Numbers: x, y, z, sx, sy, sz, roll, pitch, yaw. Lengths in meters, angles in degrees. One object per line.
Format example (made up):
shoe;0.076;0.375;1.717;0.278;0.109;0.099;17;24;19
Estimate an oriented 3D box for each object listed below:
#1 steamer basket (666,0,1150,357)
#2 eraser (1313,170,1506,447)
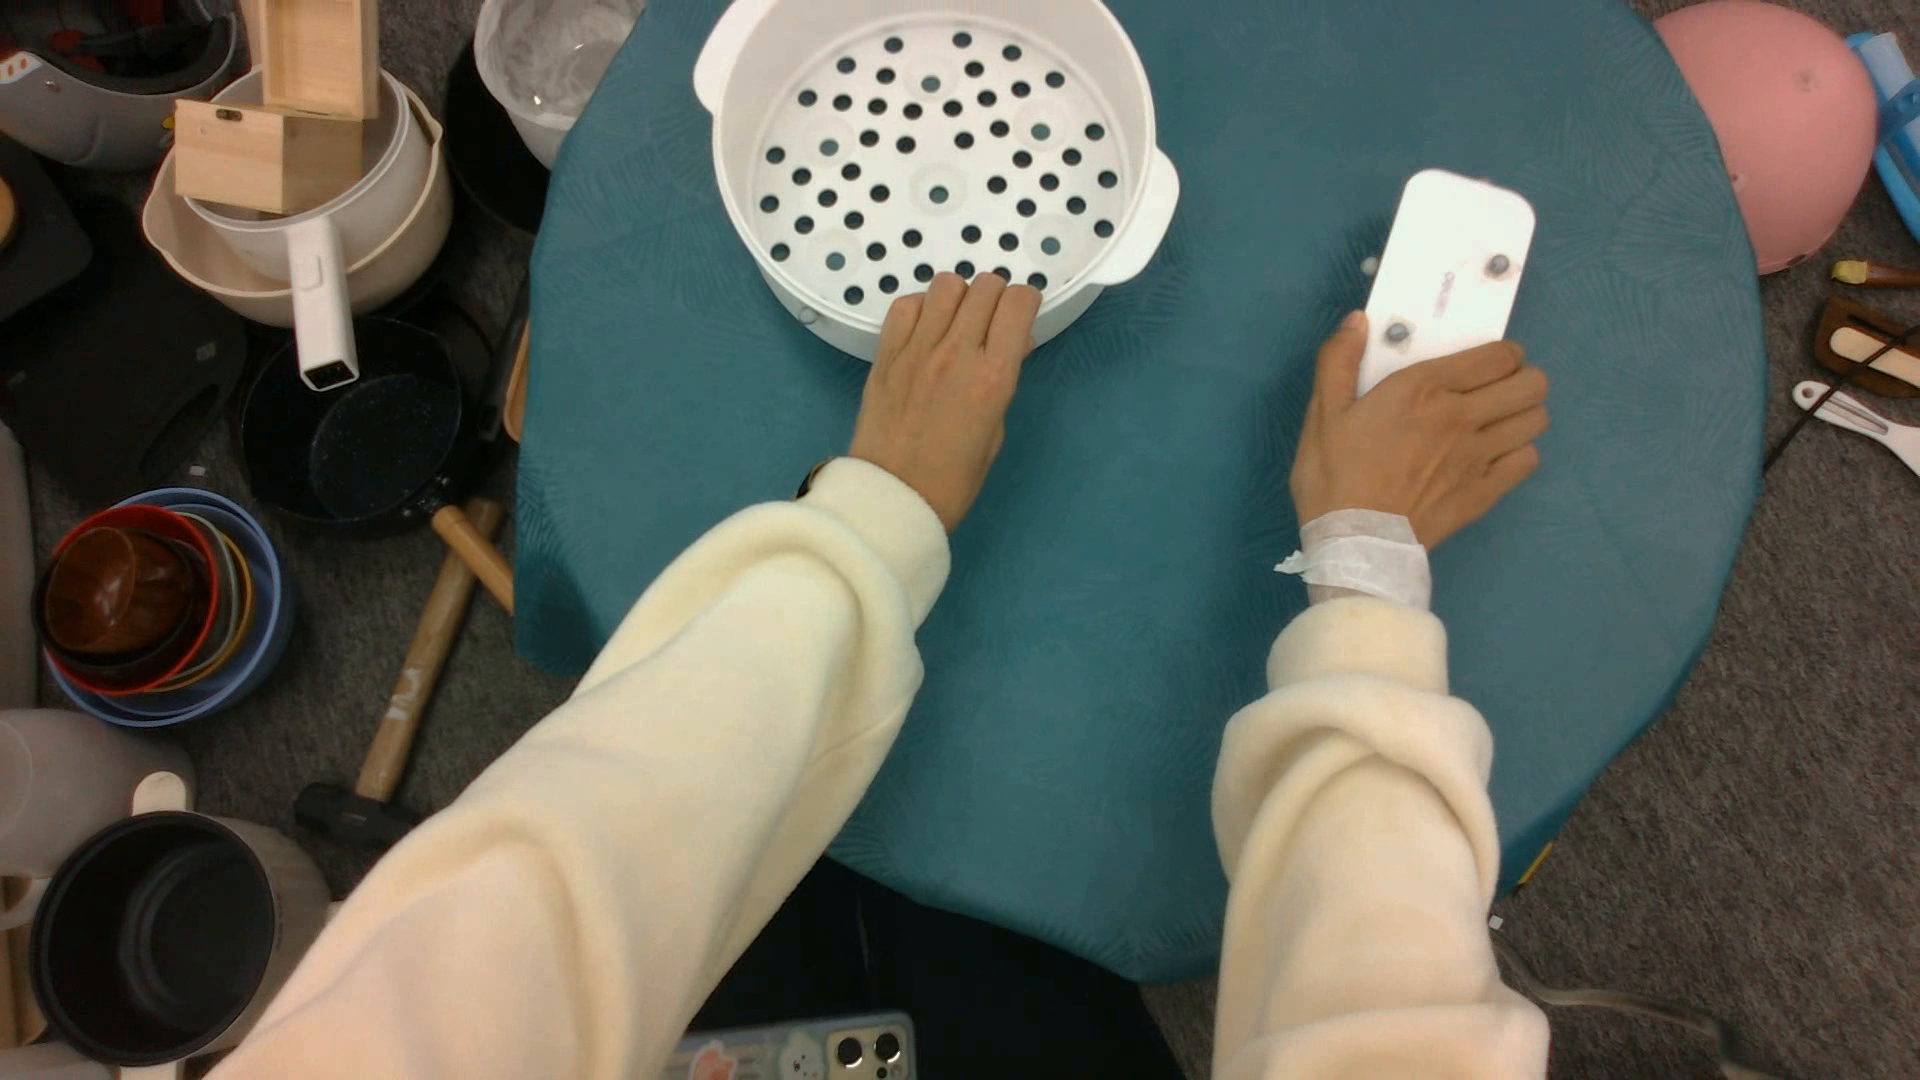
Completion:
steamer basket;-0.024;-0.186;0.654;0.230;0.069;0.202;24;78;8
eraser;0.207;-0.109;0.641;0.063;0.034;0.131;20;76;6
